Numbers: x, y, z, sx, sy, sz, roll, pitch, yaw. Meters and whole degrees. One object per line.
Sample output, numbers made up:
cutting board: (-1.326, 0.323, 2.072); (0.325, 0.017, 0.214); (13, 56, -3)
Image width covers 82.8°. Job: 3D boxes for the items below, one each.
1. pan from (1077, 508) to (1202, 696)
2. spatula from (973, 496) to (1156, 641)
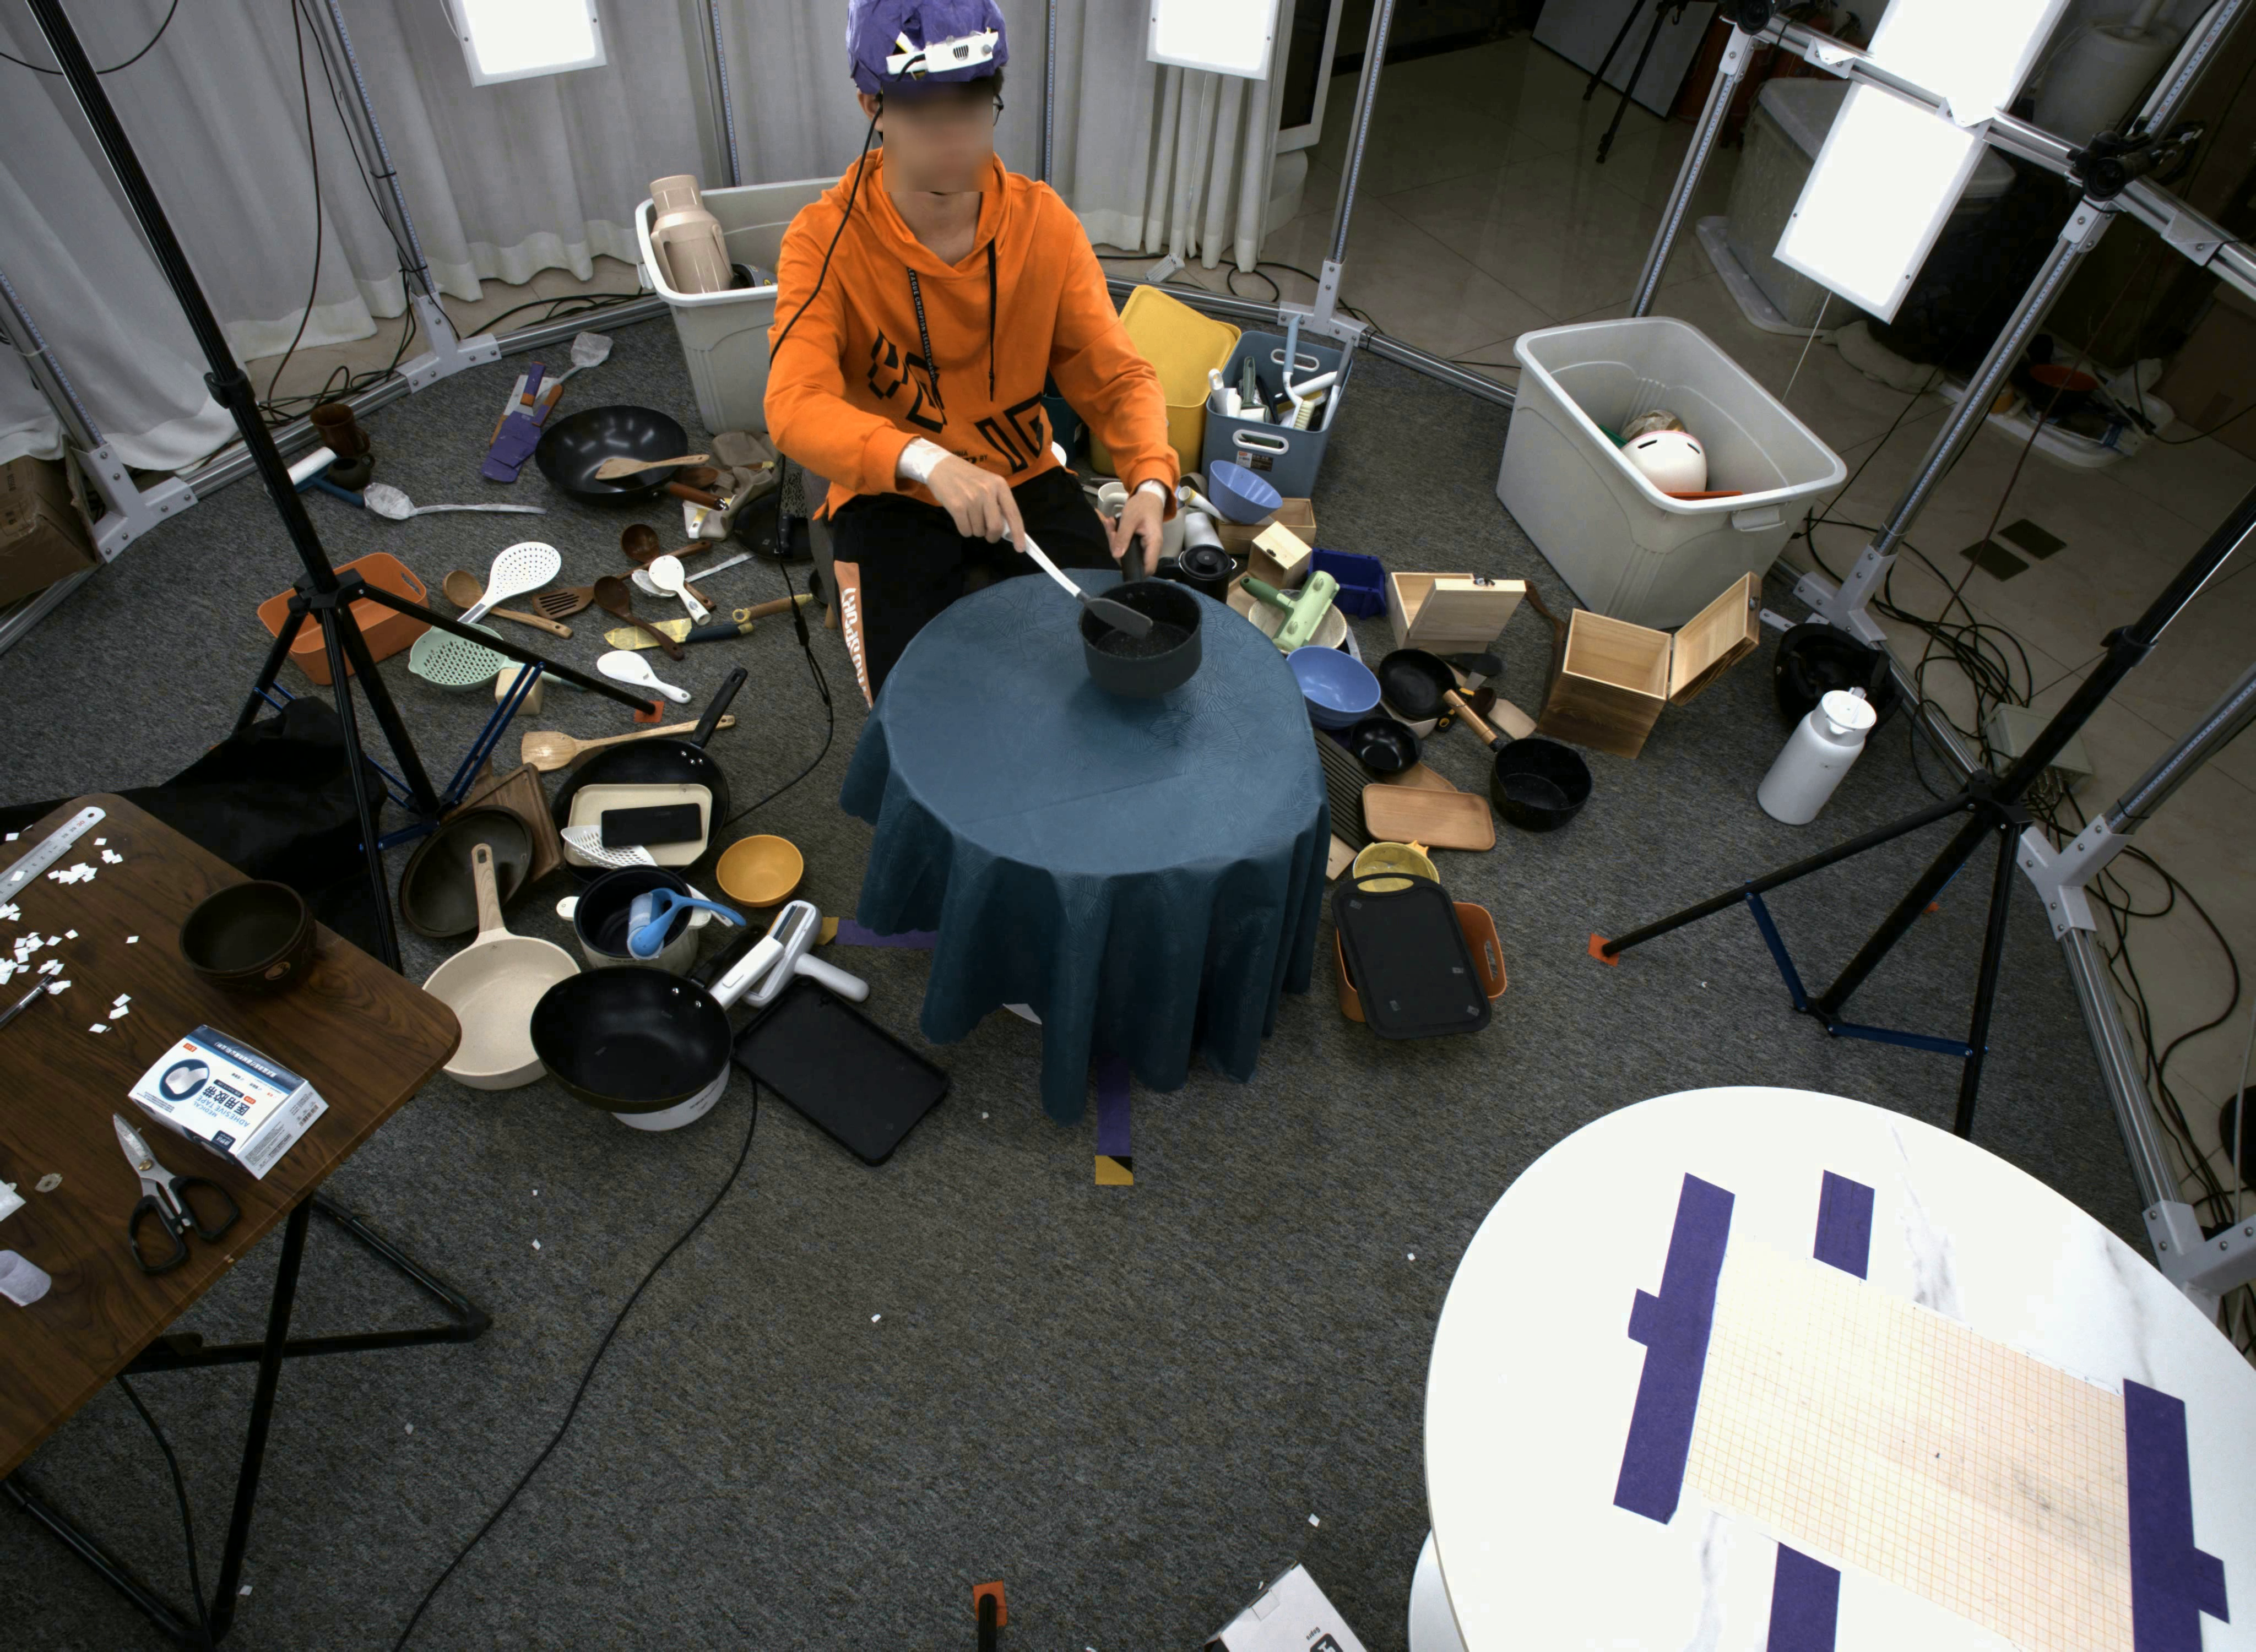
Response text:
pan: (0.015, -0.322, 1.836); (0.172, 0.084, 0.337); (-5, 48, 3)
spatula: (-0.085, -0.340, 1.724); (0.288, 0.058, 0.033); (38, 58, 1)
